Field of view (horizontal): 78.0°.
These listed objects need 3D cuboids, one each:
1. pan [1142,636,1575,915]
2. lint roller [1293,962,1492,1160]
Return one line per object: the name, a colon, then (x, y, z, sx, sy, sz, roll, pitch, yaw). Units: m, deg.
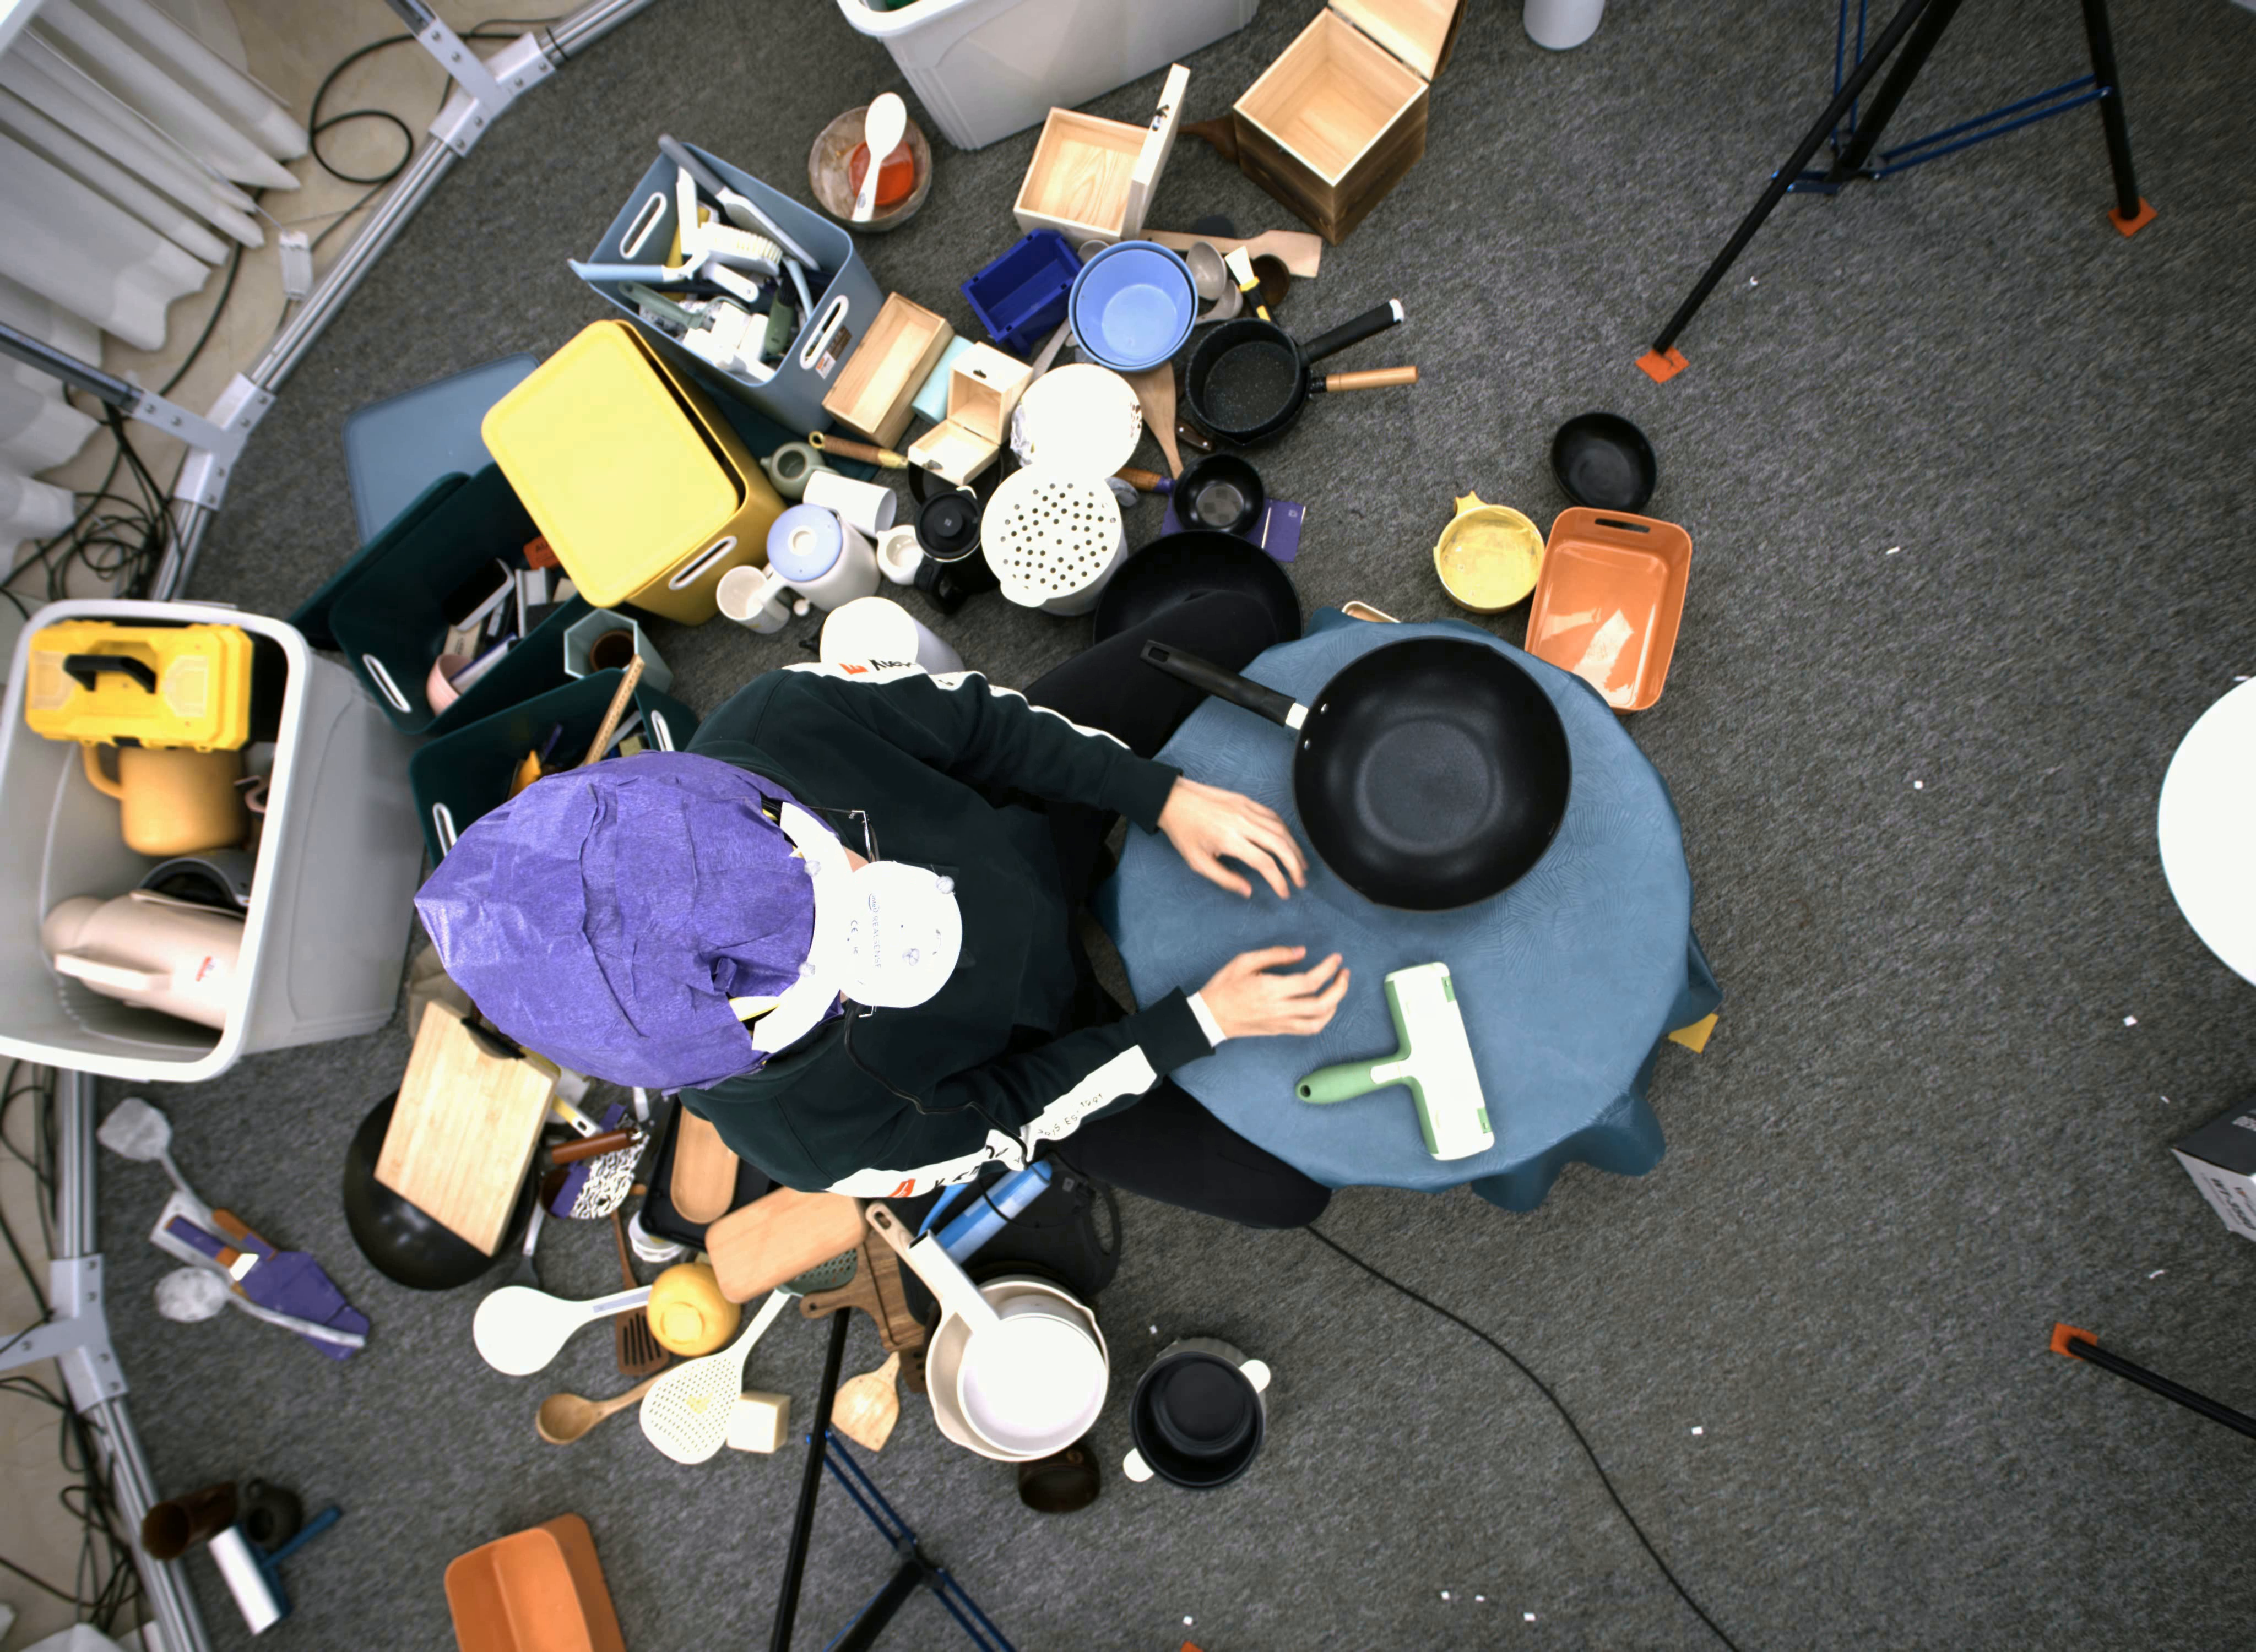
pan: (0.227, -0.086, 1.429, 0.463, 0.087, 0.288, 24, 90, 12)
lint roller: (0.259, 0.251, 1.410, 0.184, 0.082, 0.197, -14, 85, 4)
